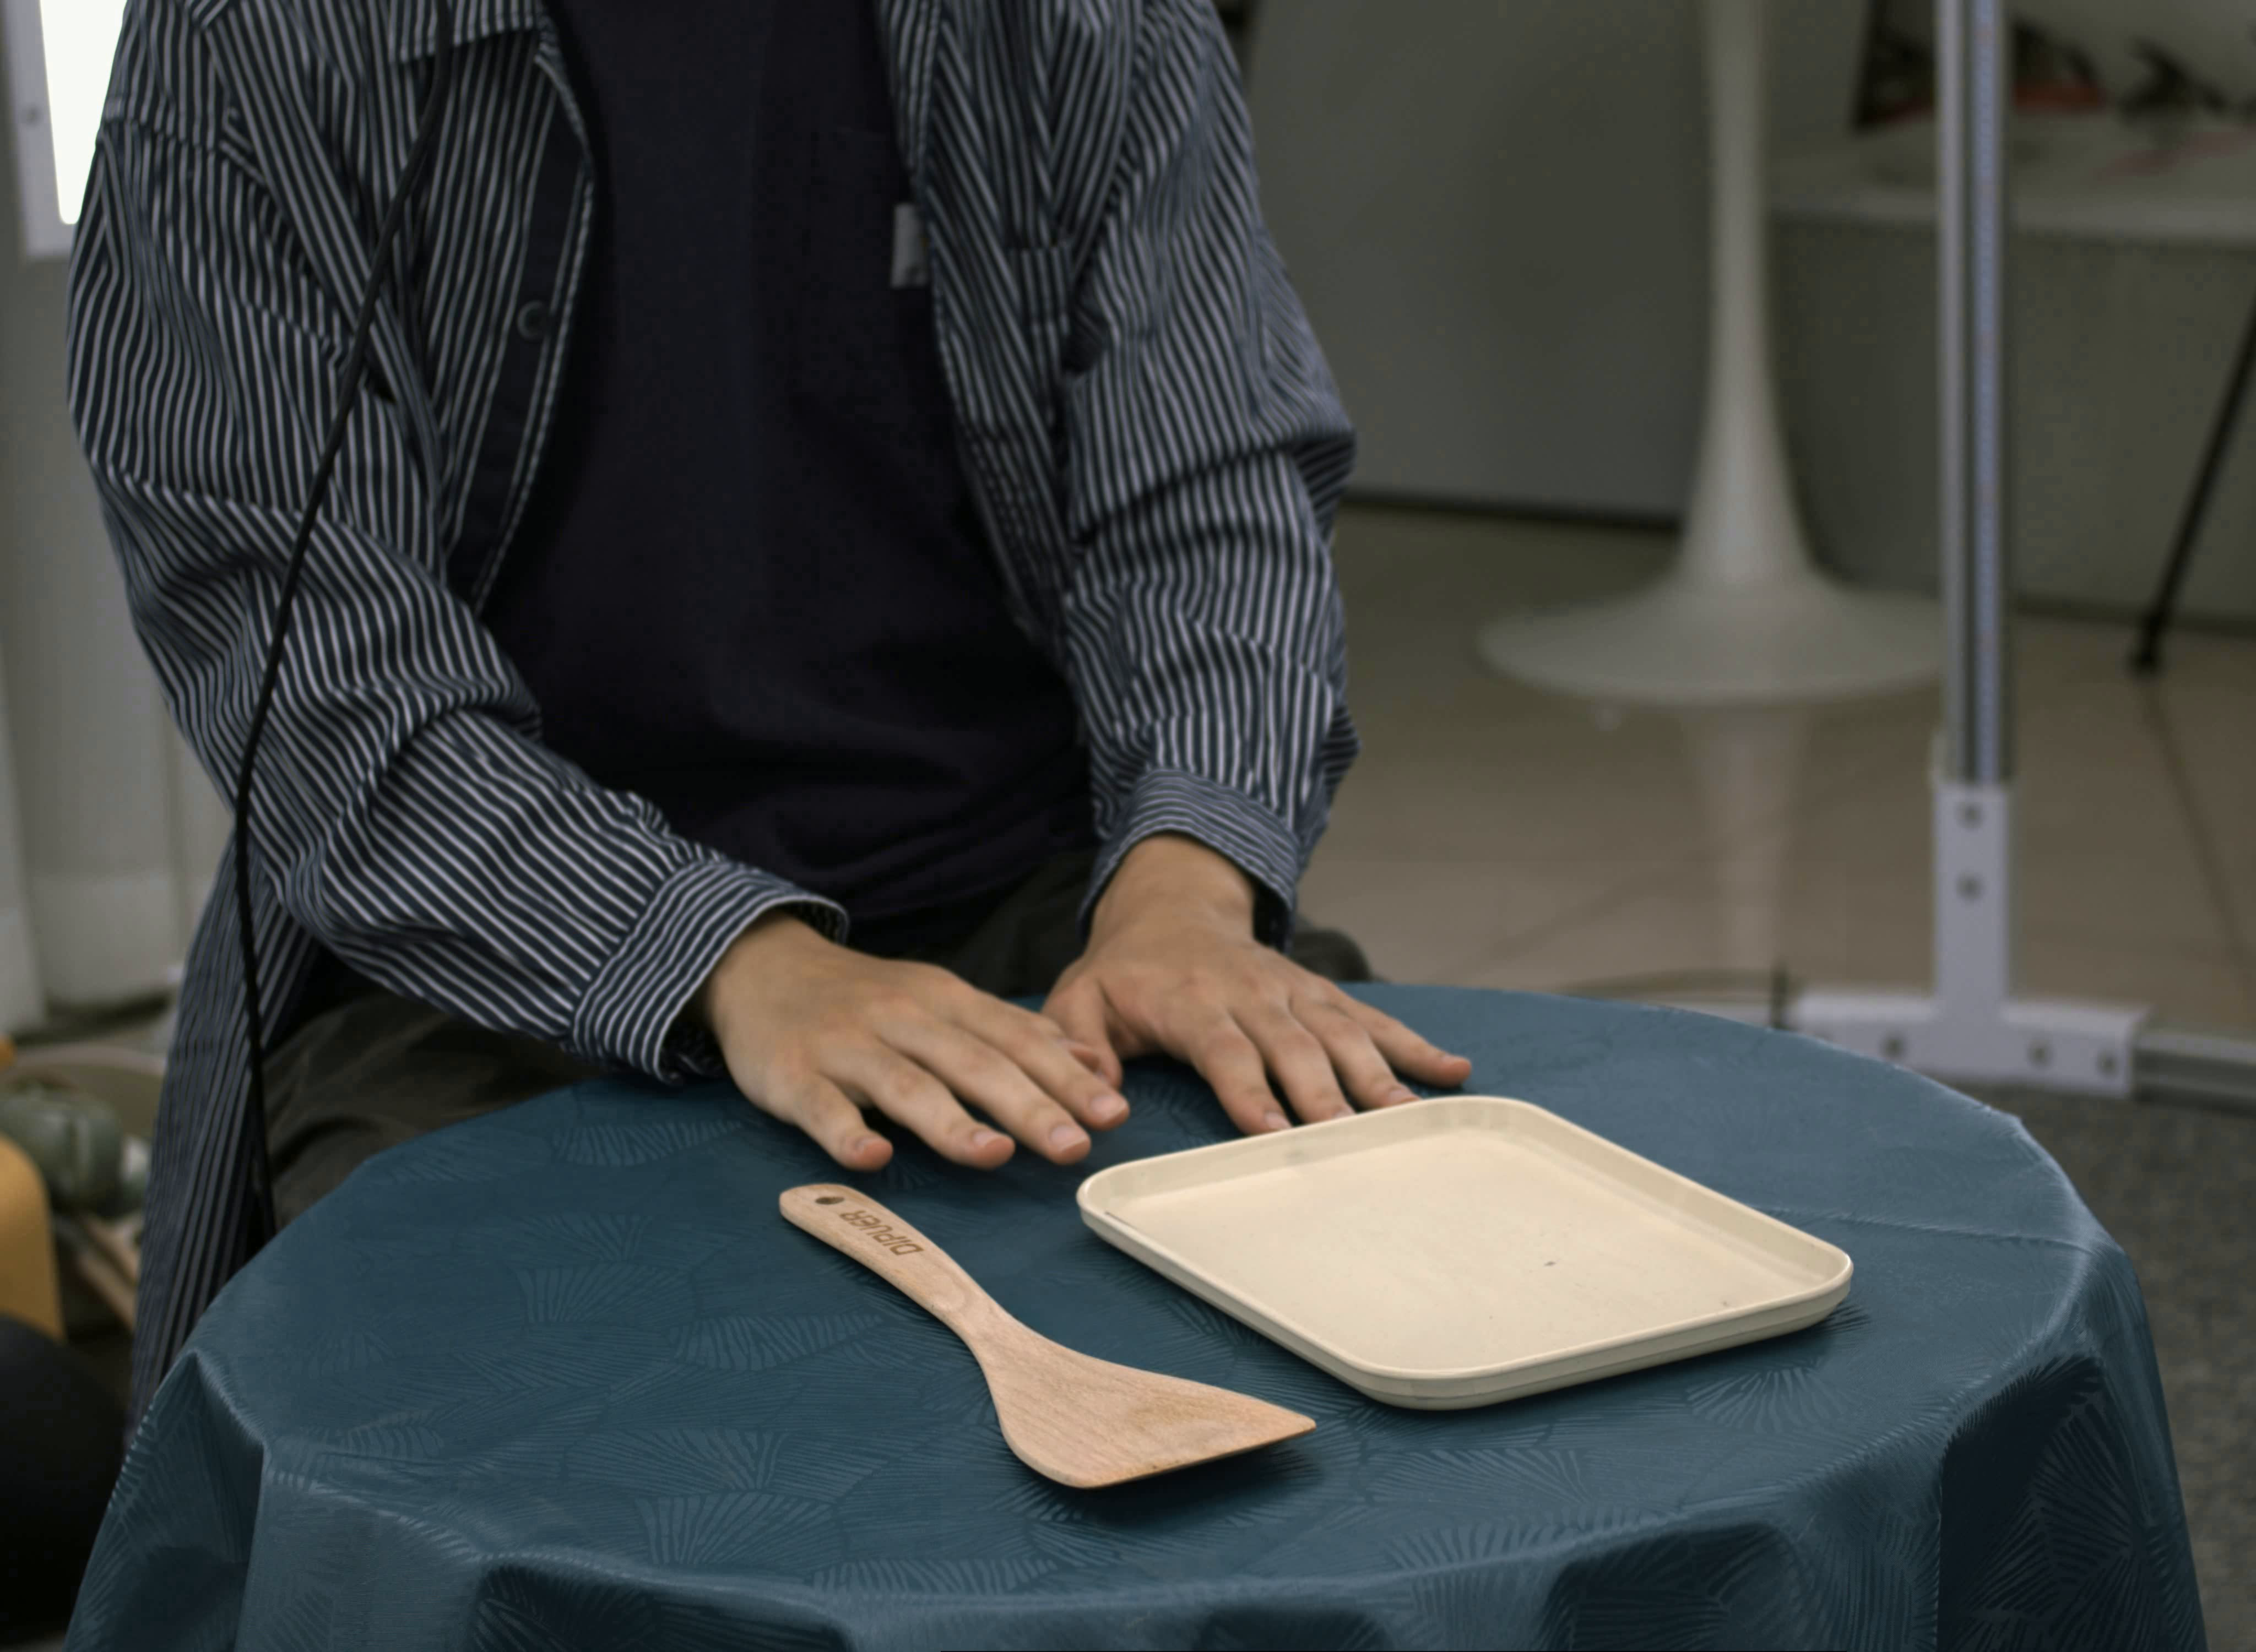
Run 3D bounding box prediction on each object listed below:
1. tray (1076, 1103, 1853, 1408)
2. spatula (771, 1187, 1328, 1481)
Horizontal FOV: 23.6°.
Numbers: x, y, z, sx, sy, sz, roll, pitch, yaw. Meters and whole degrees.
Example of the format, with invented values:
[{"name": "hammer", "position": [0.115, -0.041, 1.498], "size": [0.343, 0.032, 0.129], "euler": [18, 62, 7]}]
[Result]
[{"name": "tray", "position": [0.100, 0.131, 1.662], "size": [0.167, 0.017, 0.242], "euler": [-10, 14, -24]}, {"name": "spatula", "position": [-0.039, 0.149, 1.634], "size": [0.078, 0.017, 0.331], "euler": [-9, 15, -23]}]
